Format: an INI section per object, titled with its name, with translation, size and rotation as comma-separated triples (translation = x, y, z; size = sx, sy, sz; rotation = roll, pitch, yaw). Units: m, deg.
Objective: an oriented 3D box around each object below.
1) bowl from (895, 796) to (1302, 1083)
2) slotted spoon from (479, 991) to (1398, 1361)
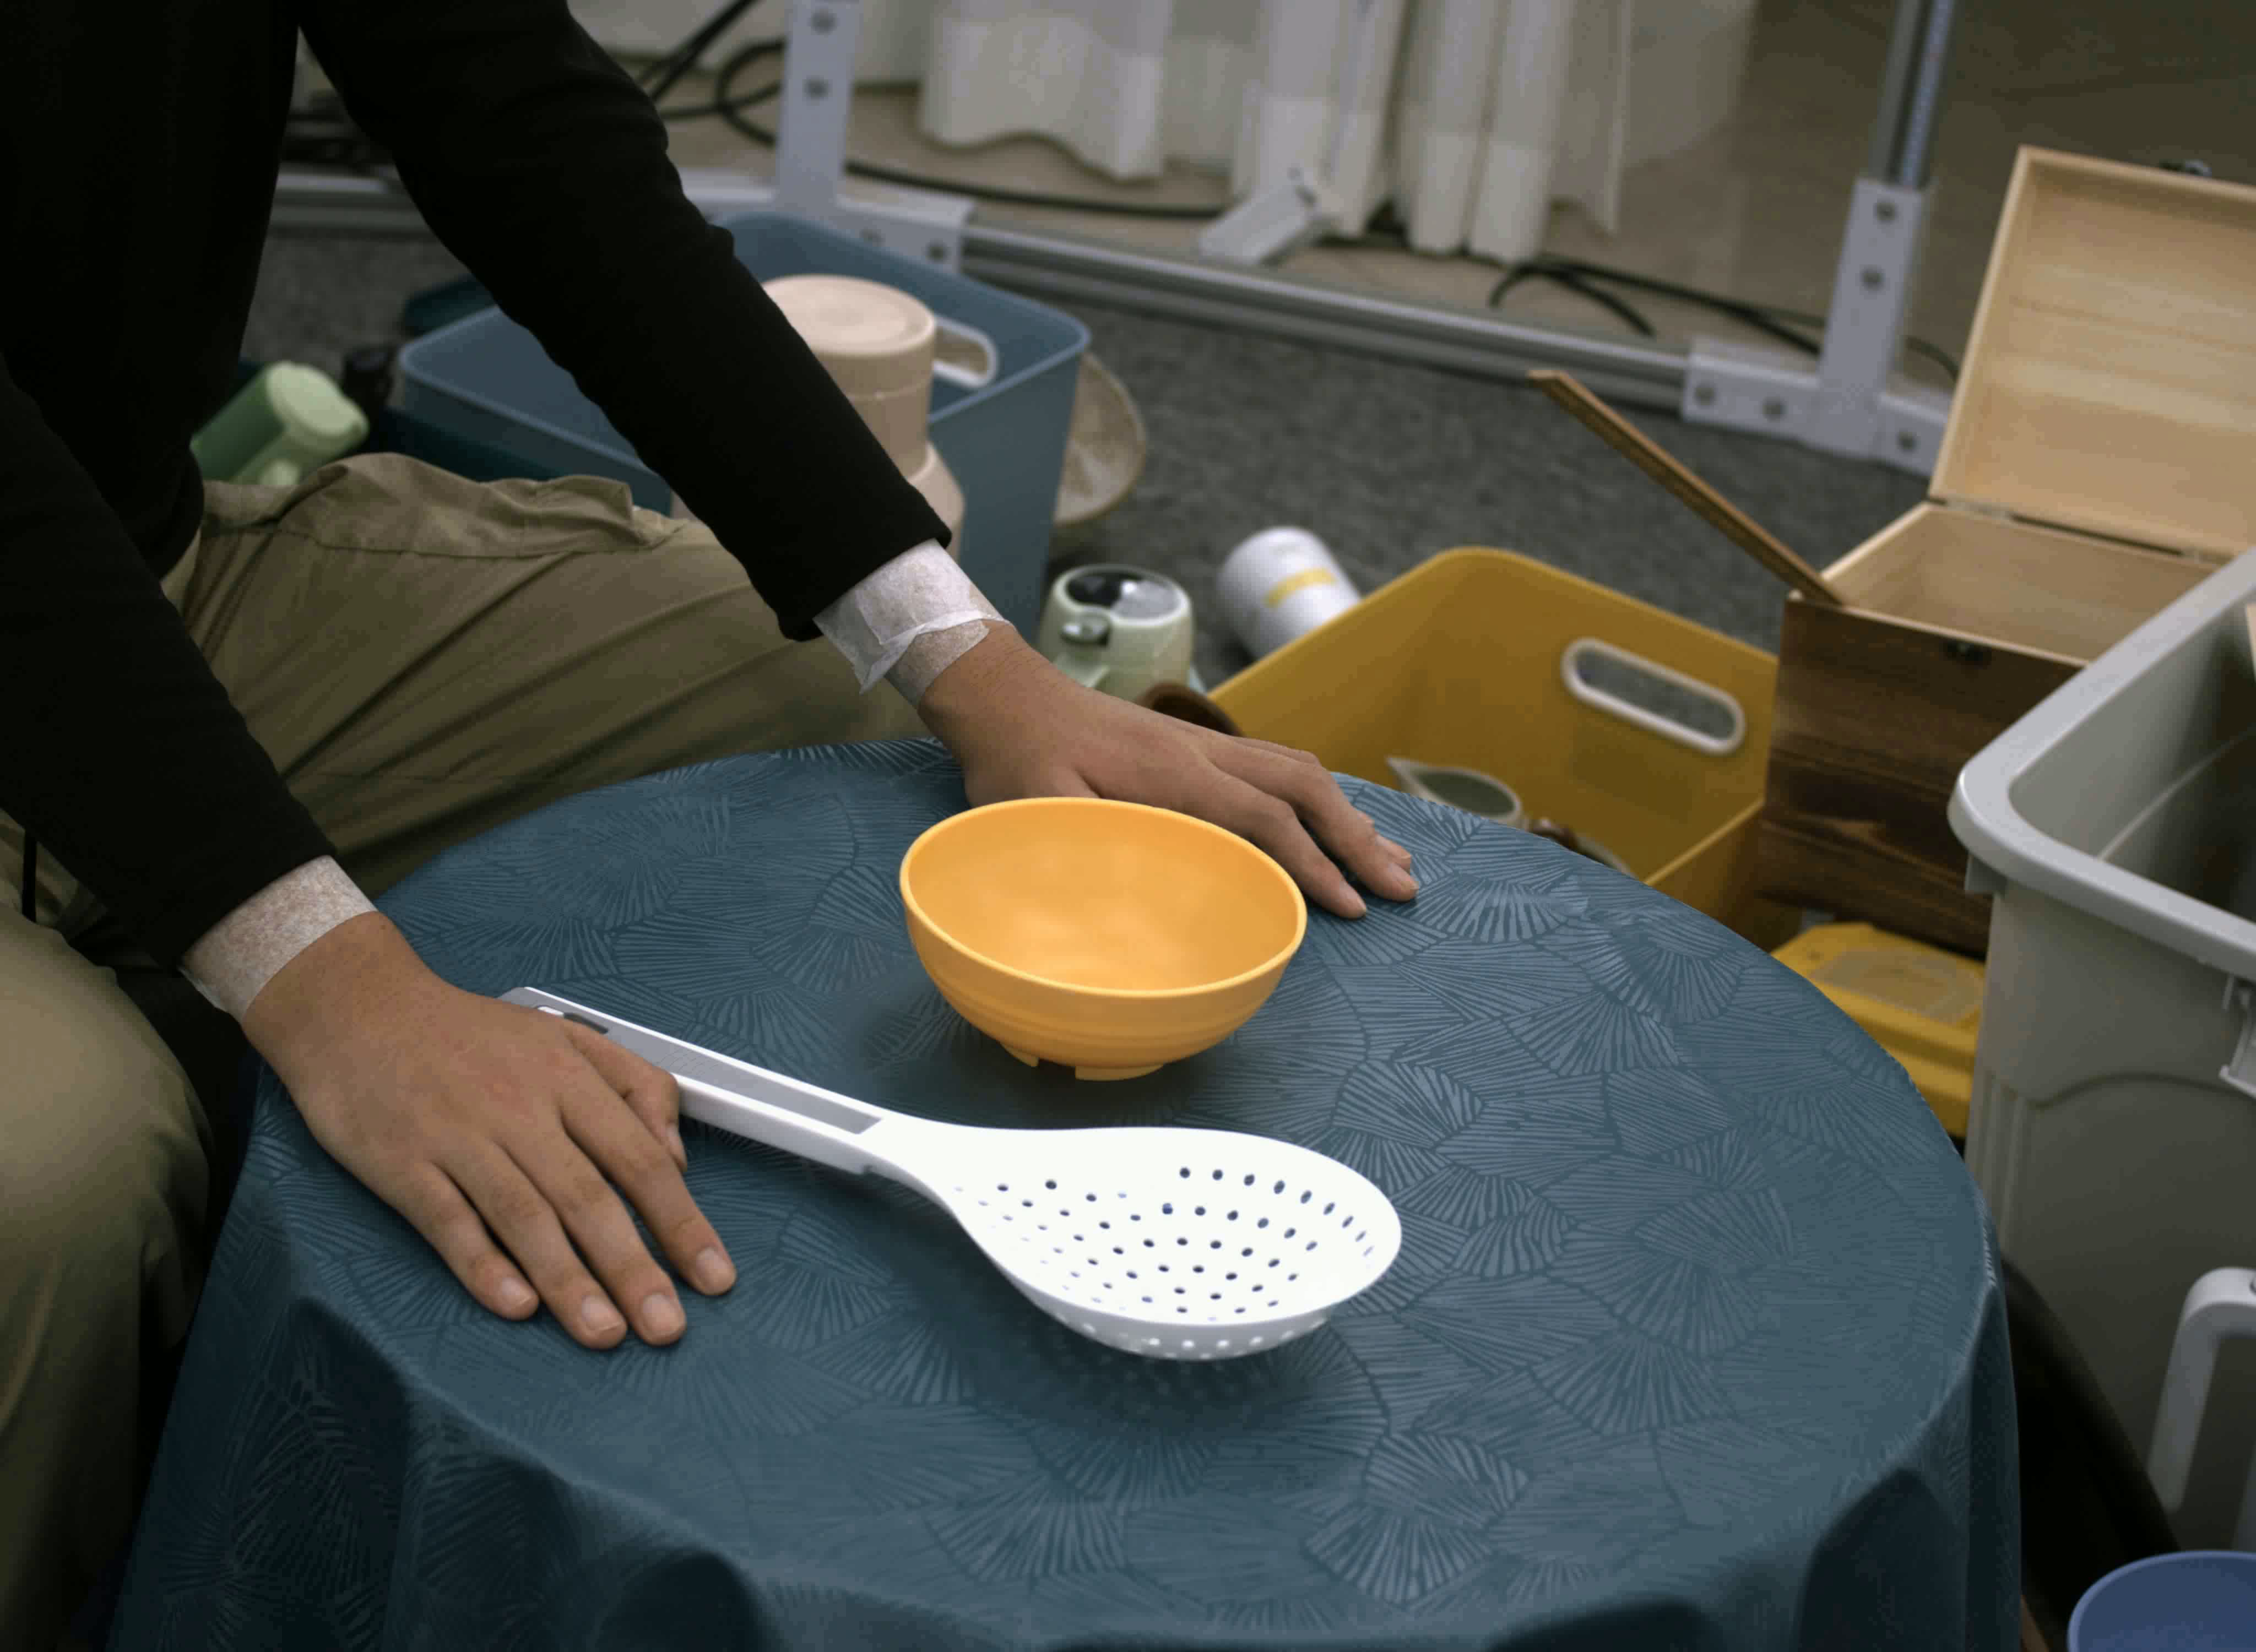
[bowl]
translation = -0.014, 0.049, 1.884
size = 0.145, 0.060, 0.146
rotation = 7, 27, -4
[slotted spoon]
translation = -0.072, 0.109, 1.765
size = 0.351, 0.045, 0.136
rotation = 20, 29, 27
